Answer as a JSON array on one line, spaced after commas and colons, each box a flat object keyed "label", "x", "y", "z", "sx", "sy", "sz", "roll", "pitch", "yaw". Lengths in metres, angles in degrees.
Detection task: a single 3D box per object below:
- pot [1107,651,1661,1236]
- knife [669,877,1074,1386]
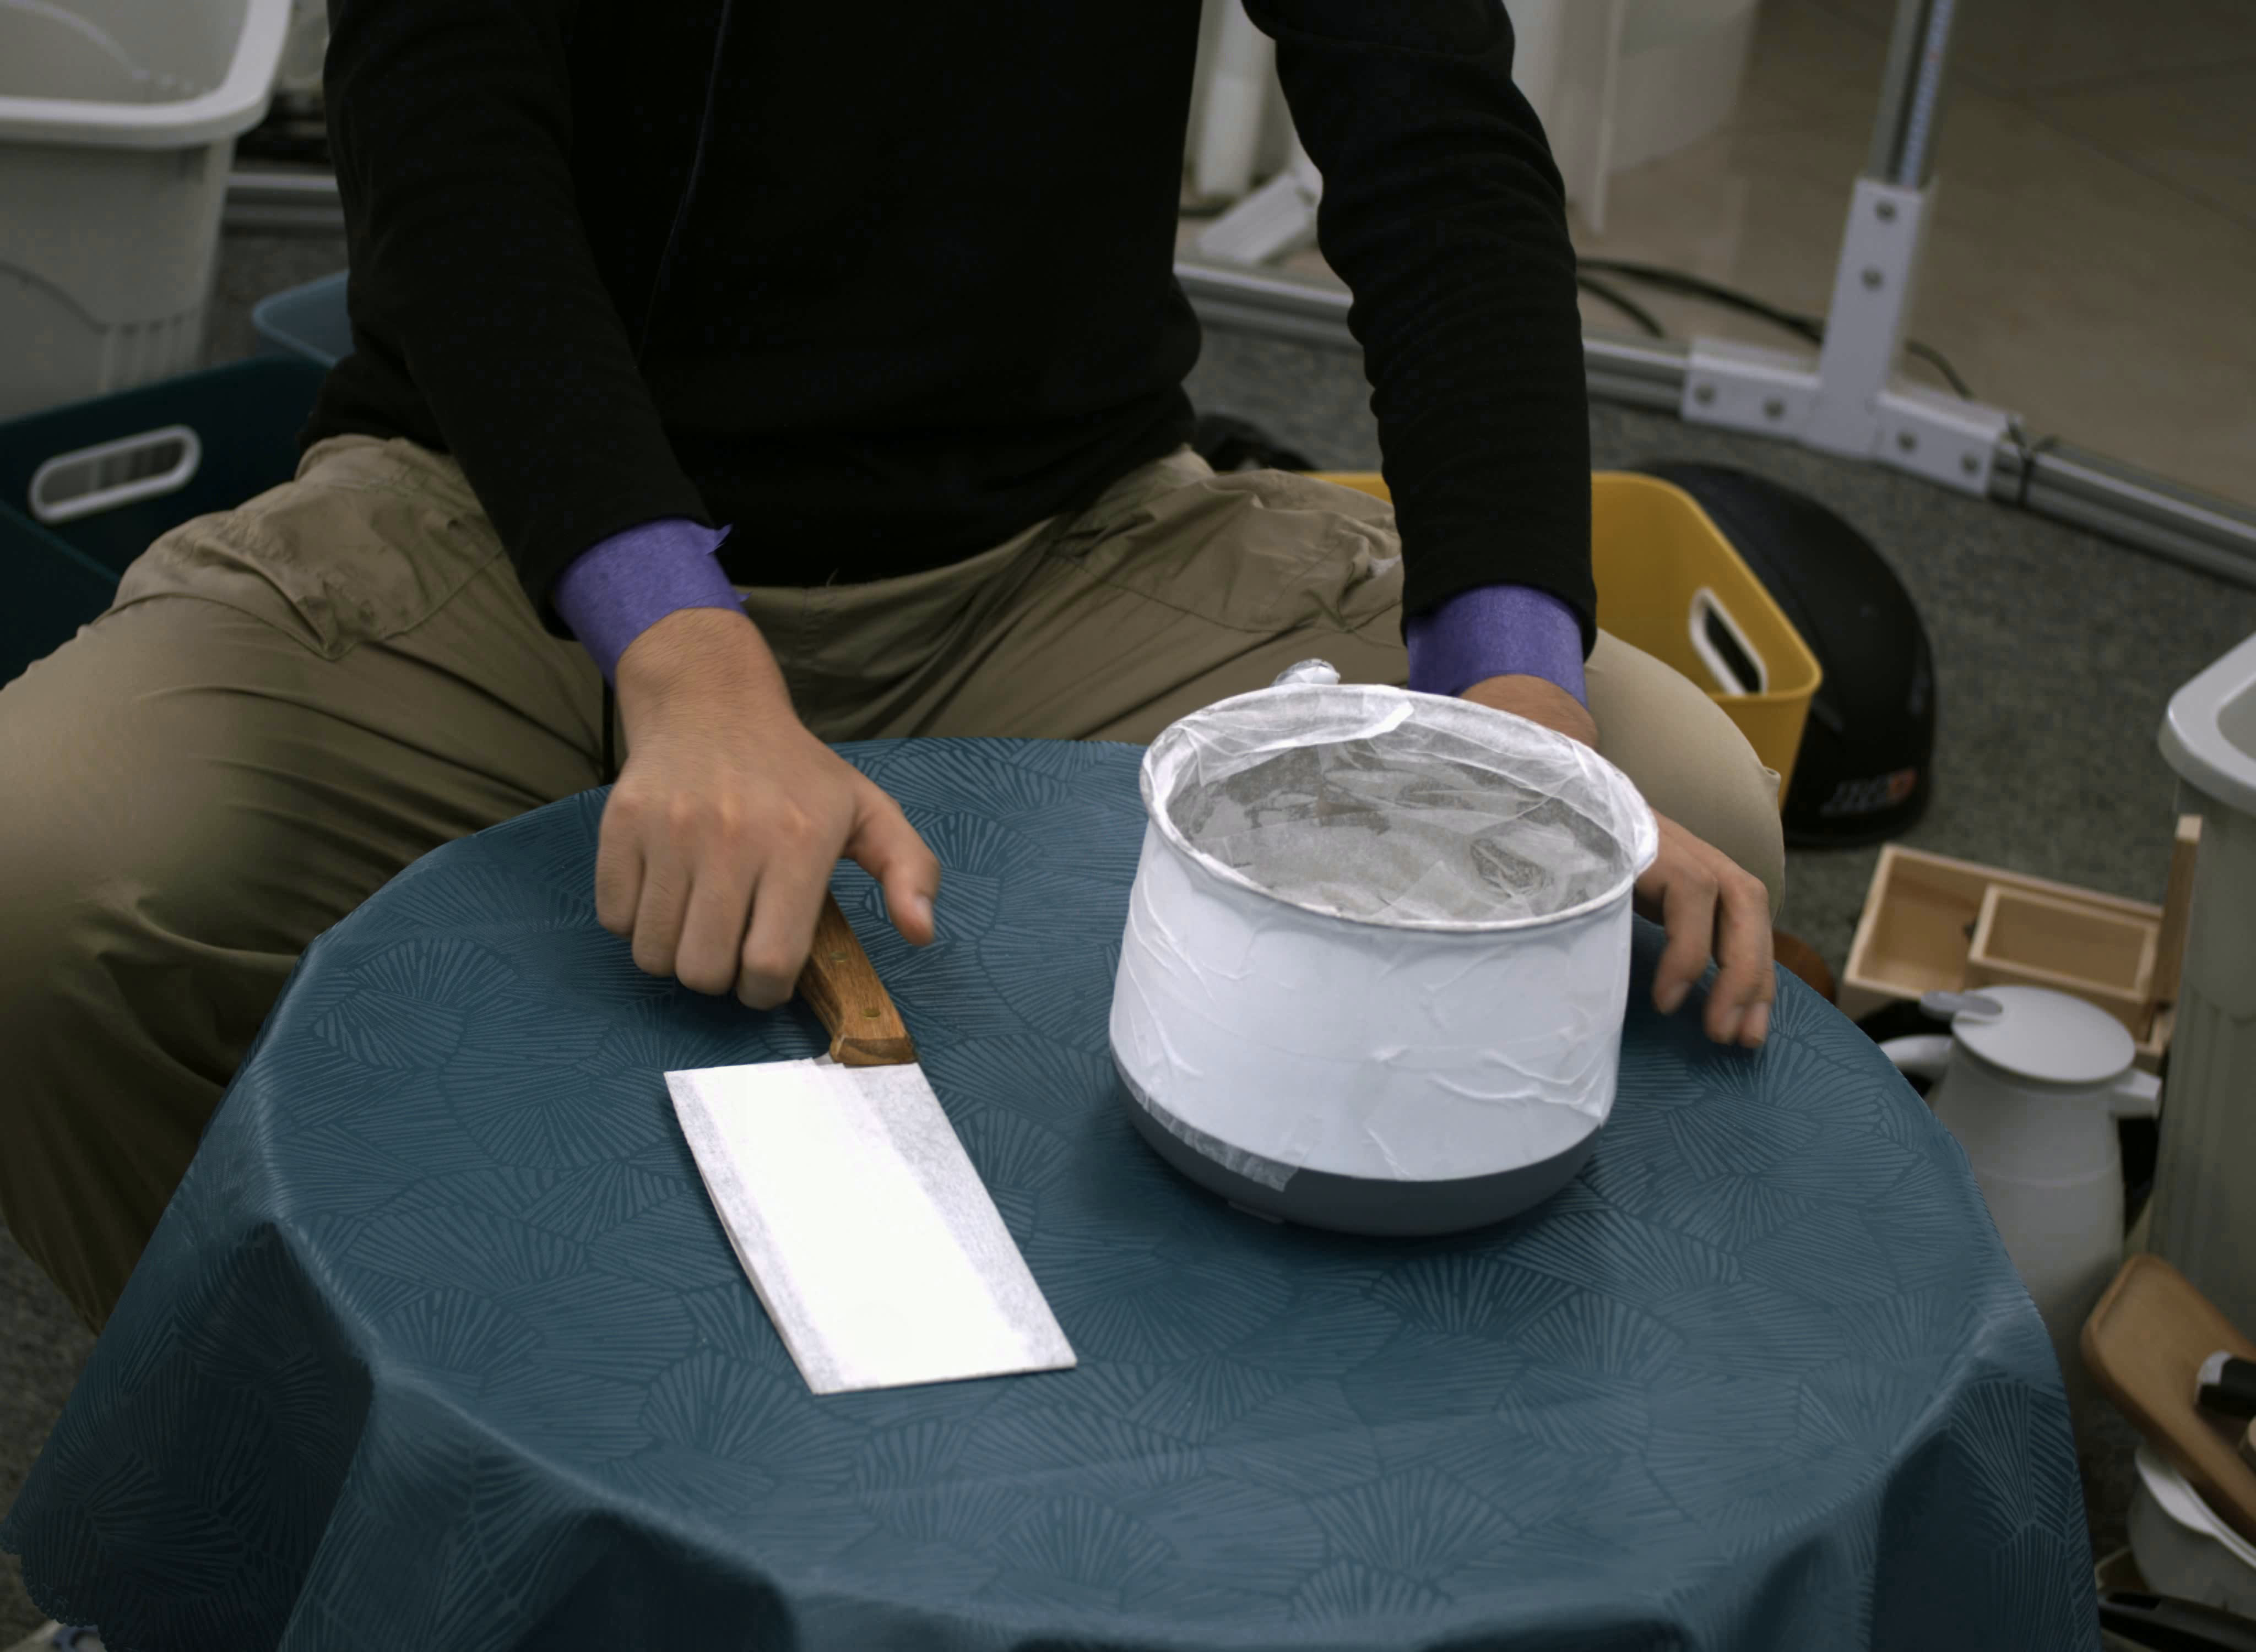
[{"label": "pot", "x": 0.077, "y": 0.033, "z": 1.845, "sx": 0.177, "sy": 0.136, "sz": 0.236, "roll": -2, "pitch": 29, "yaw": -17}, {"label": "knife", "x": -0.104, "y": 0.101, "z": 1.812, "sx": 0.092, "sy": 0.021, "sz": 0.308, "roll": -3, "pitch": 30, "yaw": -19}]
